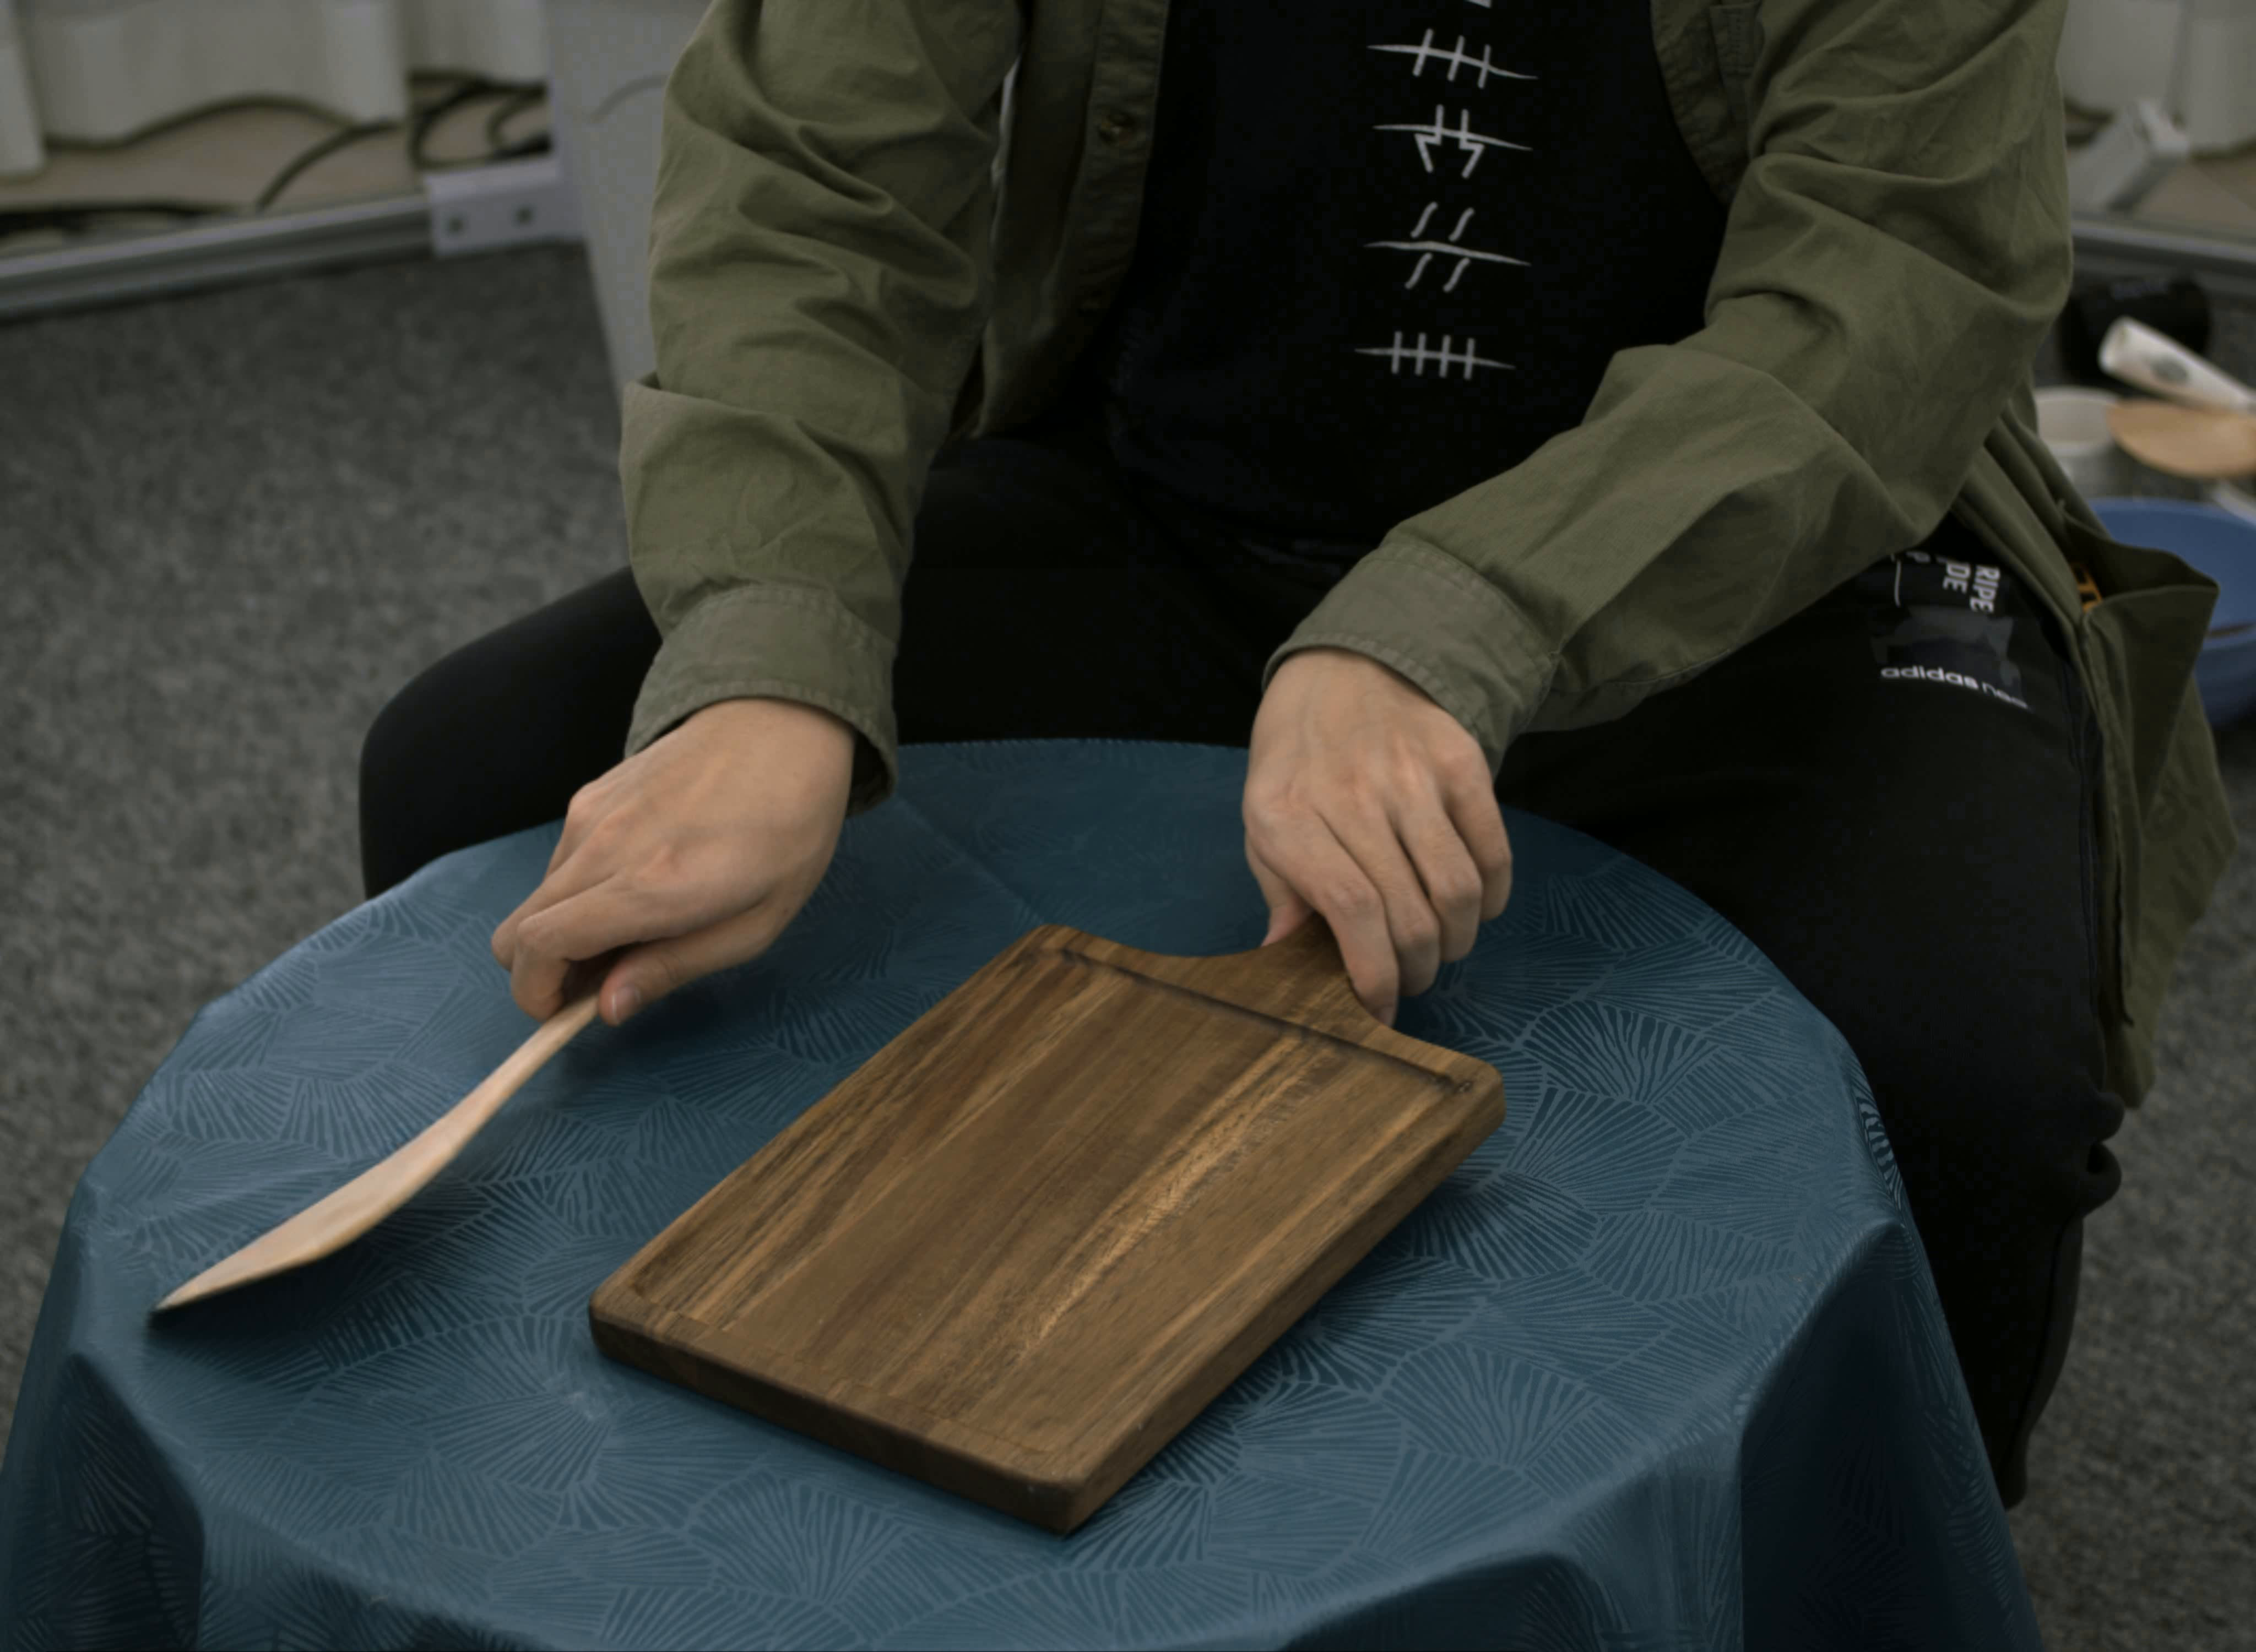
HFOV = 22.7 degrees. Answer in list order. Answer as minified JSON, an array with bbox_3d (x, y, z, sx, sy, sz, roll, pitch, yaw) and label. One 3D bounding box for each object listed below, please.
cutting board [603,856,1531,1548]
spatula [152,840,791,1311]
[{"bbox_3d":[0.012,0.104,1.835,0.200,0.023,0.358,17,39,33],"label":"cutting board"},{"bbox_3d":[-0.206,0.079,1.907,0.079,0.016,0.333,-17,17,38],"label":"spatula"}]
